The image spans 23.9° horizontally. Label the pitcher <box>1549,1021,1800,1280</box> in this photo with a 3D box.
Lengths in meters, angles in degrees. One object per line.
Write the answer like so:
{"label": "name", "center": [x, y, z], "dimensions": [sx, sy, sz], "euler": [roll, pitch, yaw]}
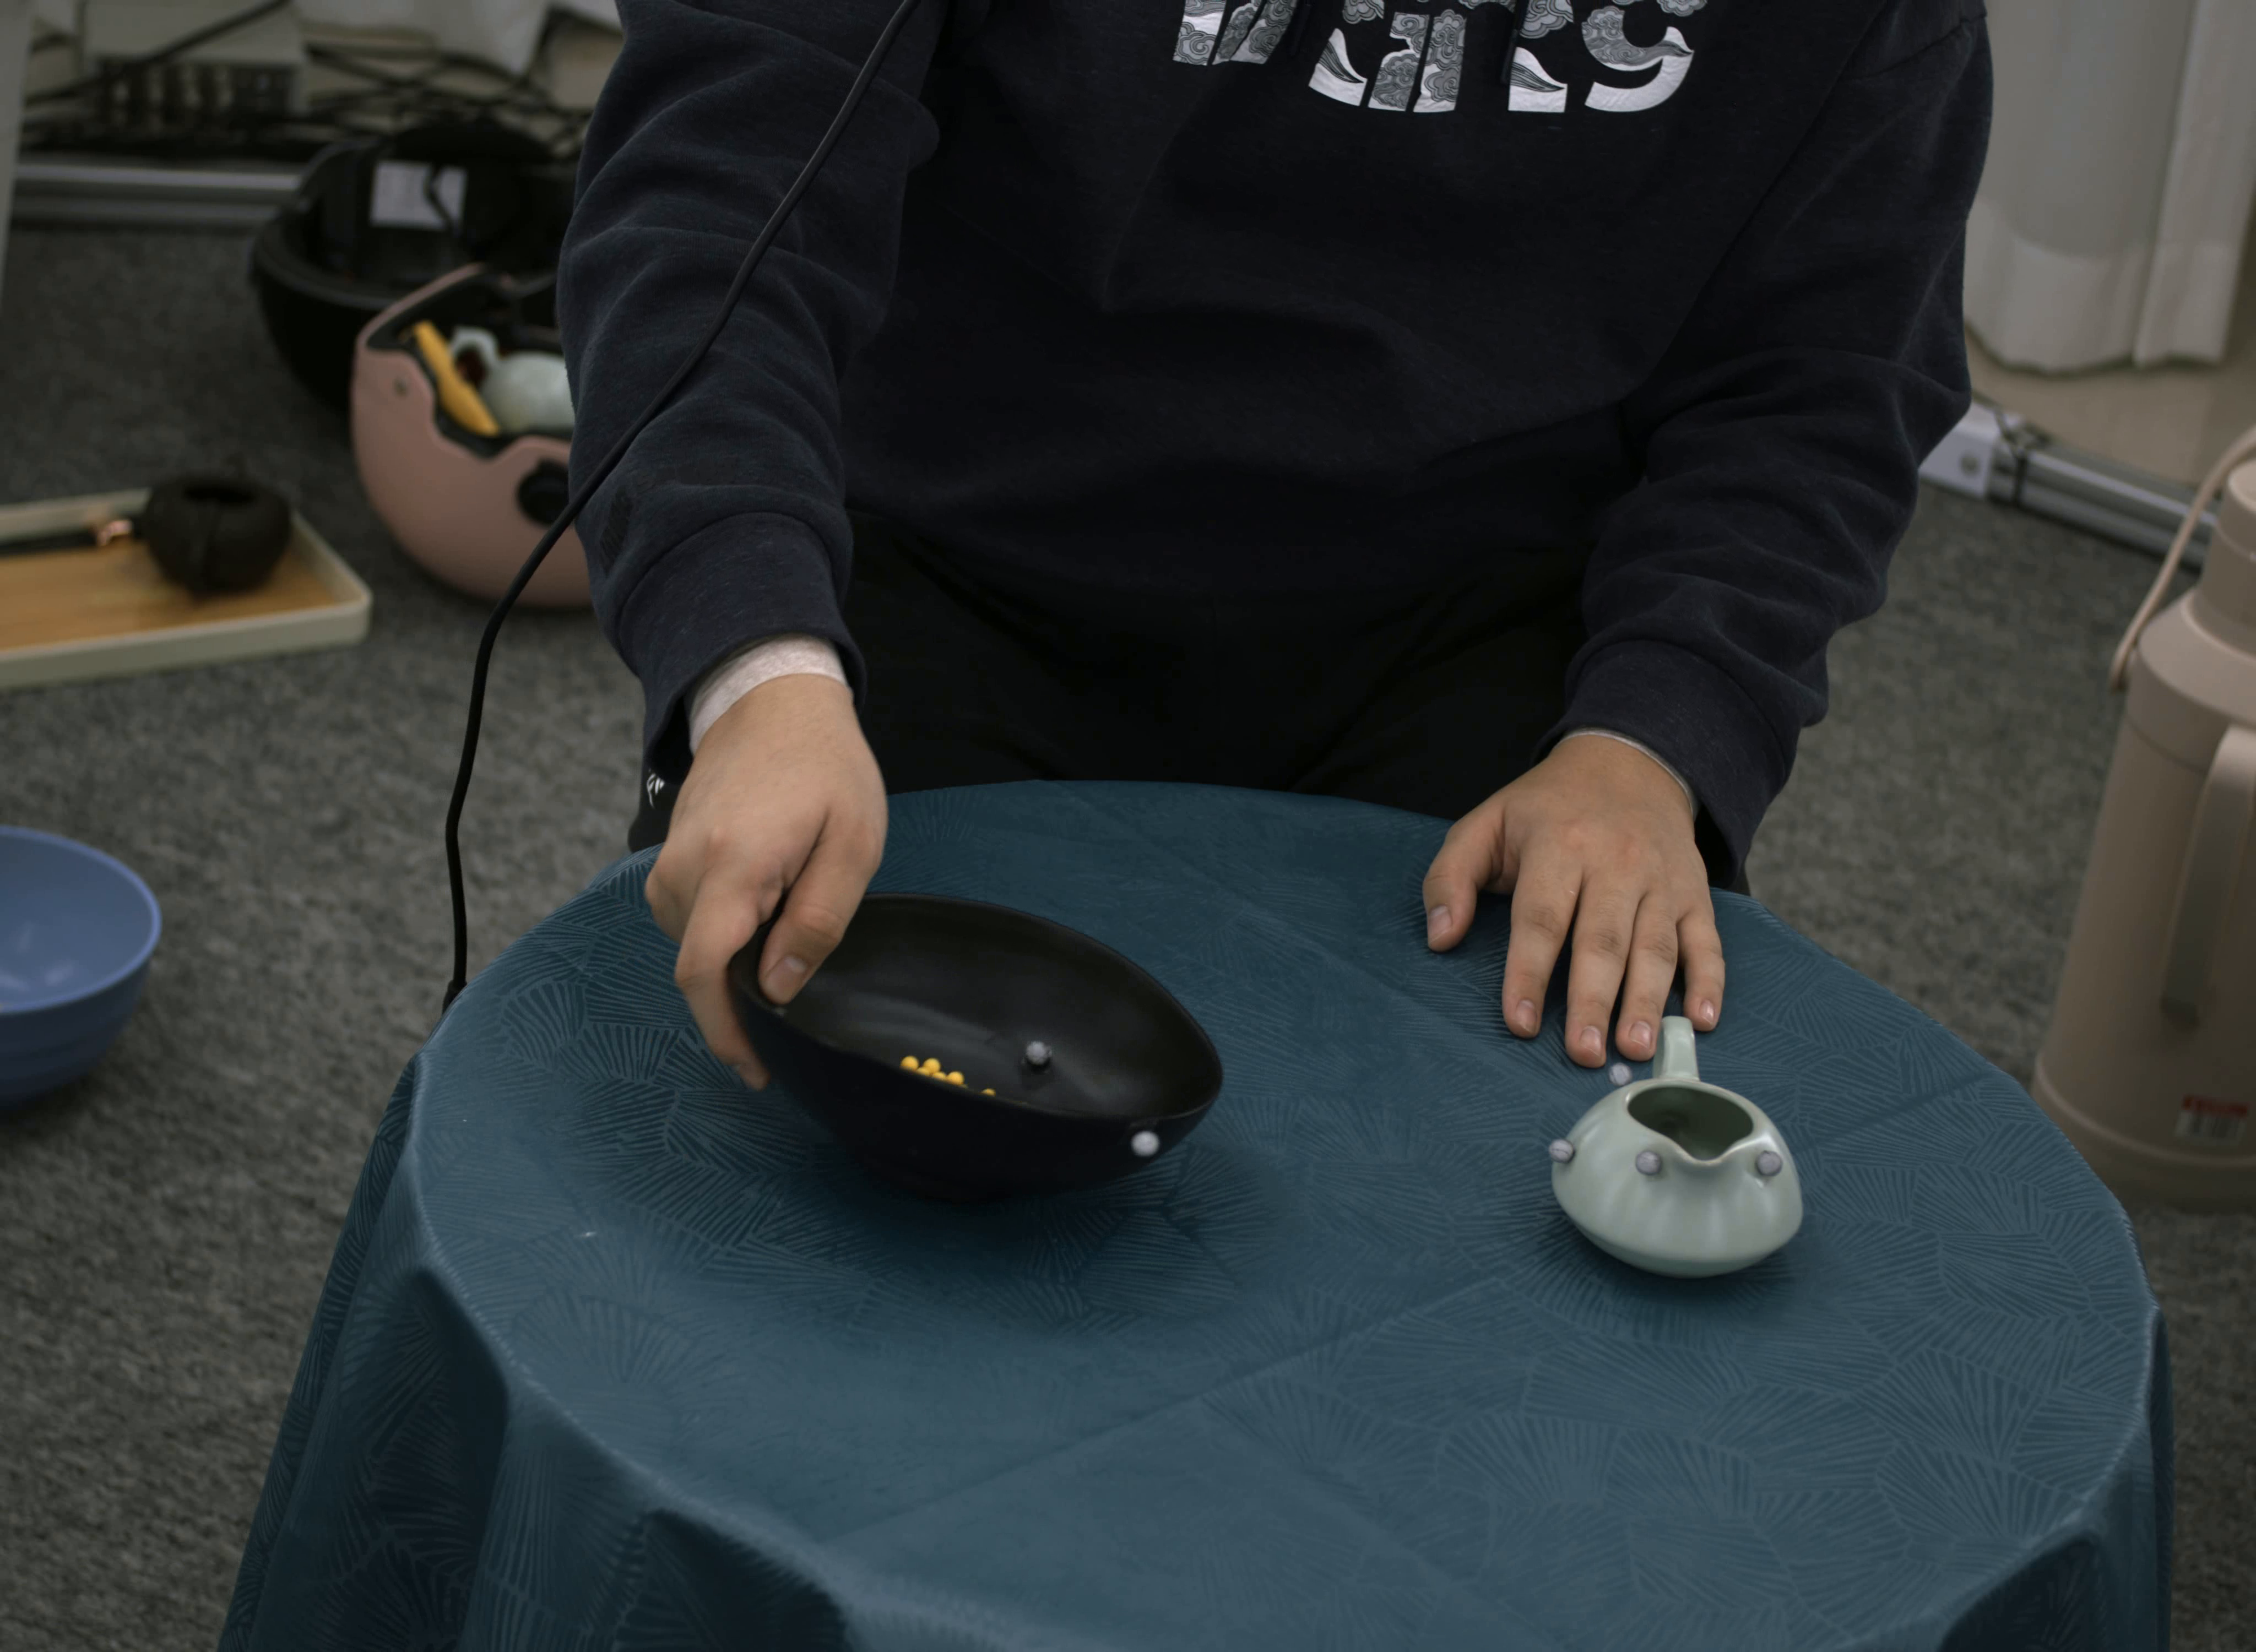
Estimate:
{"label": "pitcher", "center": [0.186, 0.112, 1.813], "dimensions": [0.085, 0.060, 0.108], "euler": [6, 24, -5]}

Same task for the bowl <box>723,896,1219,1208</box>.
{"label": "bowl", "center": [-0.058, 0.085, 1.786], "dimensions": [0.169, 0.066, 0.138], "euler": [14, 25, -6]}
